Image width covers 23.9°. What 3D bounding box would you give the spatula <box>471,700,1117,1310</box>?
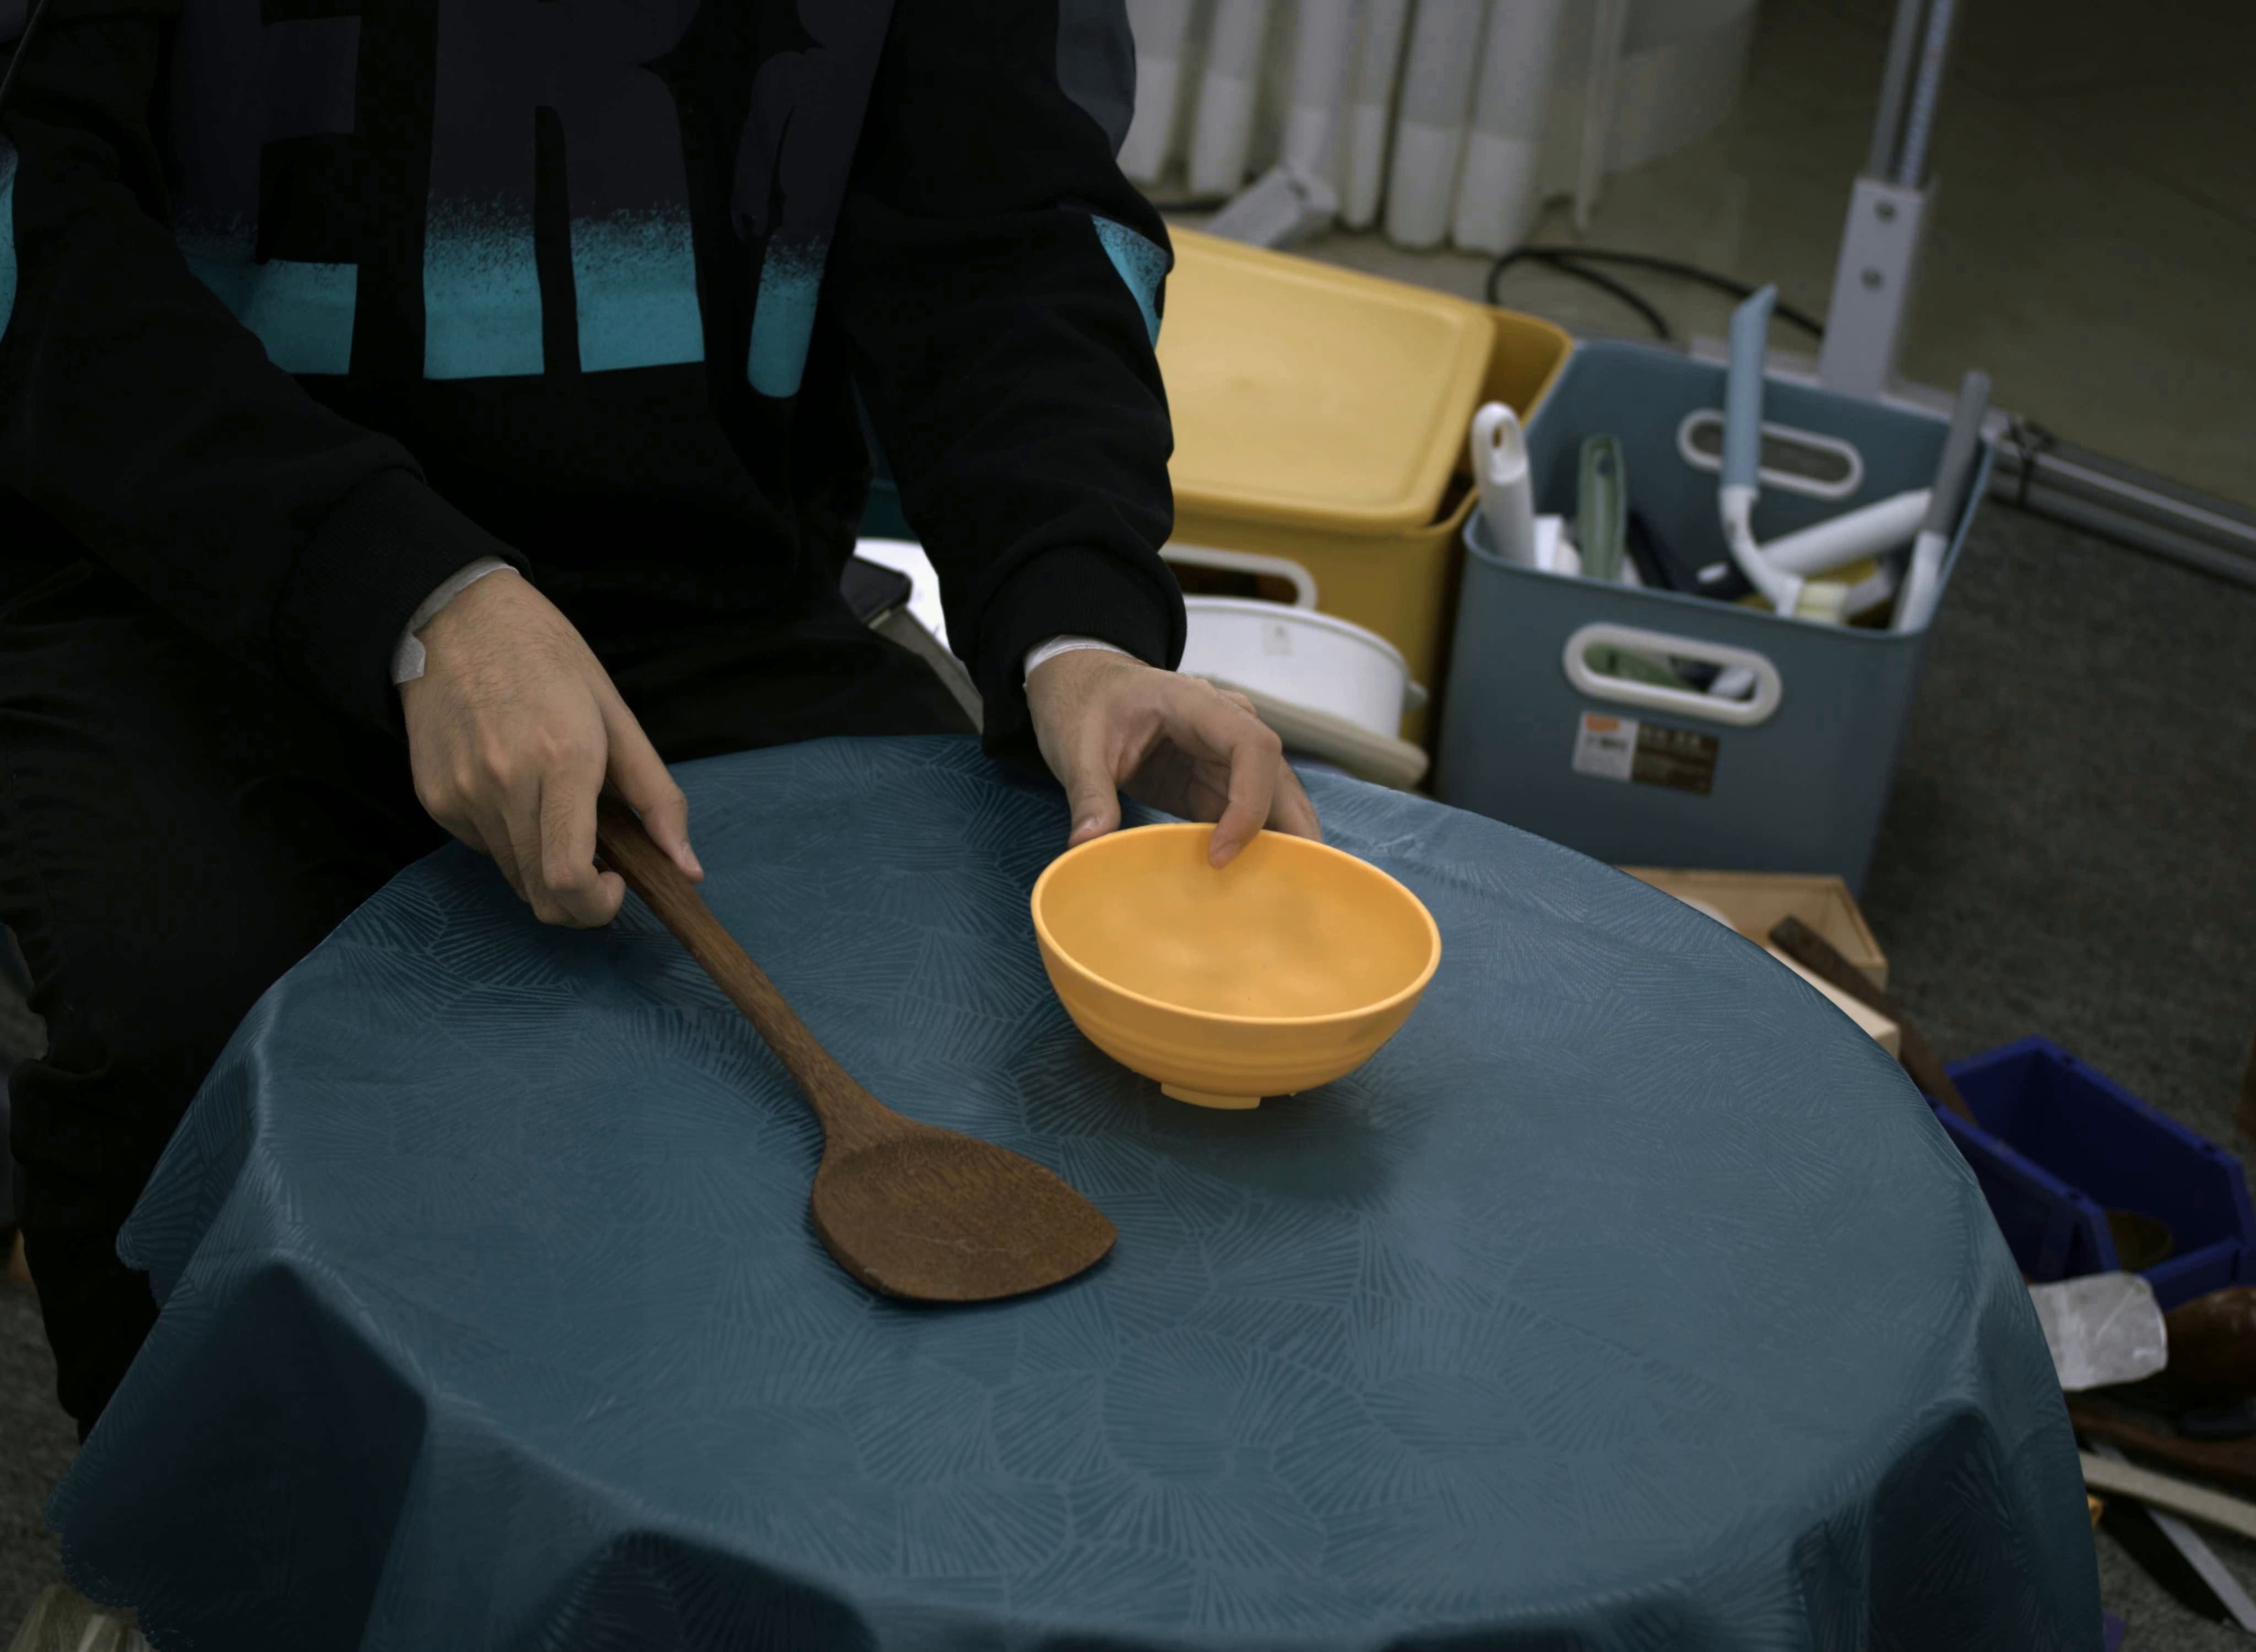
[{"bbox_3d":[-0.137,0.053,1.861,0.095,0.016,0.389,-11,38,-32],"label":"spatula"}]

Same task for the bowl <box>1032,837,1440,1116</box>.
[{"bbox_3d":[0.034,0.061,1.872,0.145,0.060,0.146,6,24,-3],"label":"bowl"}]
